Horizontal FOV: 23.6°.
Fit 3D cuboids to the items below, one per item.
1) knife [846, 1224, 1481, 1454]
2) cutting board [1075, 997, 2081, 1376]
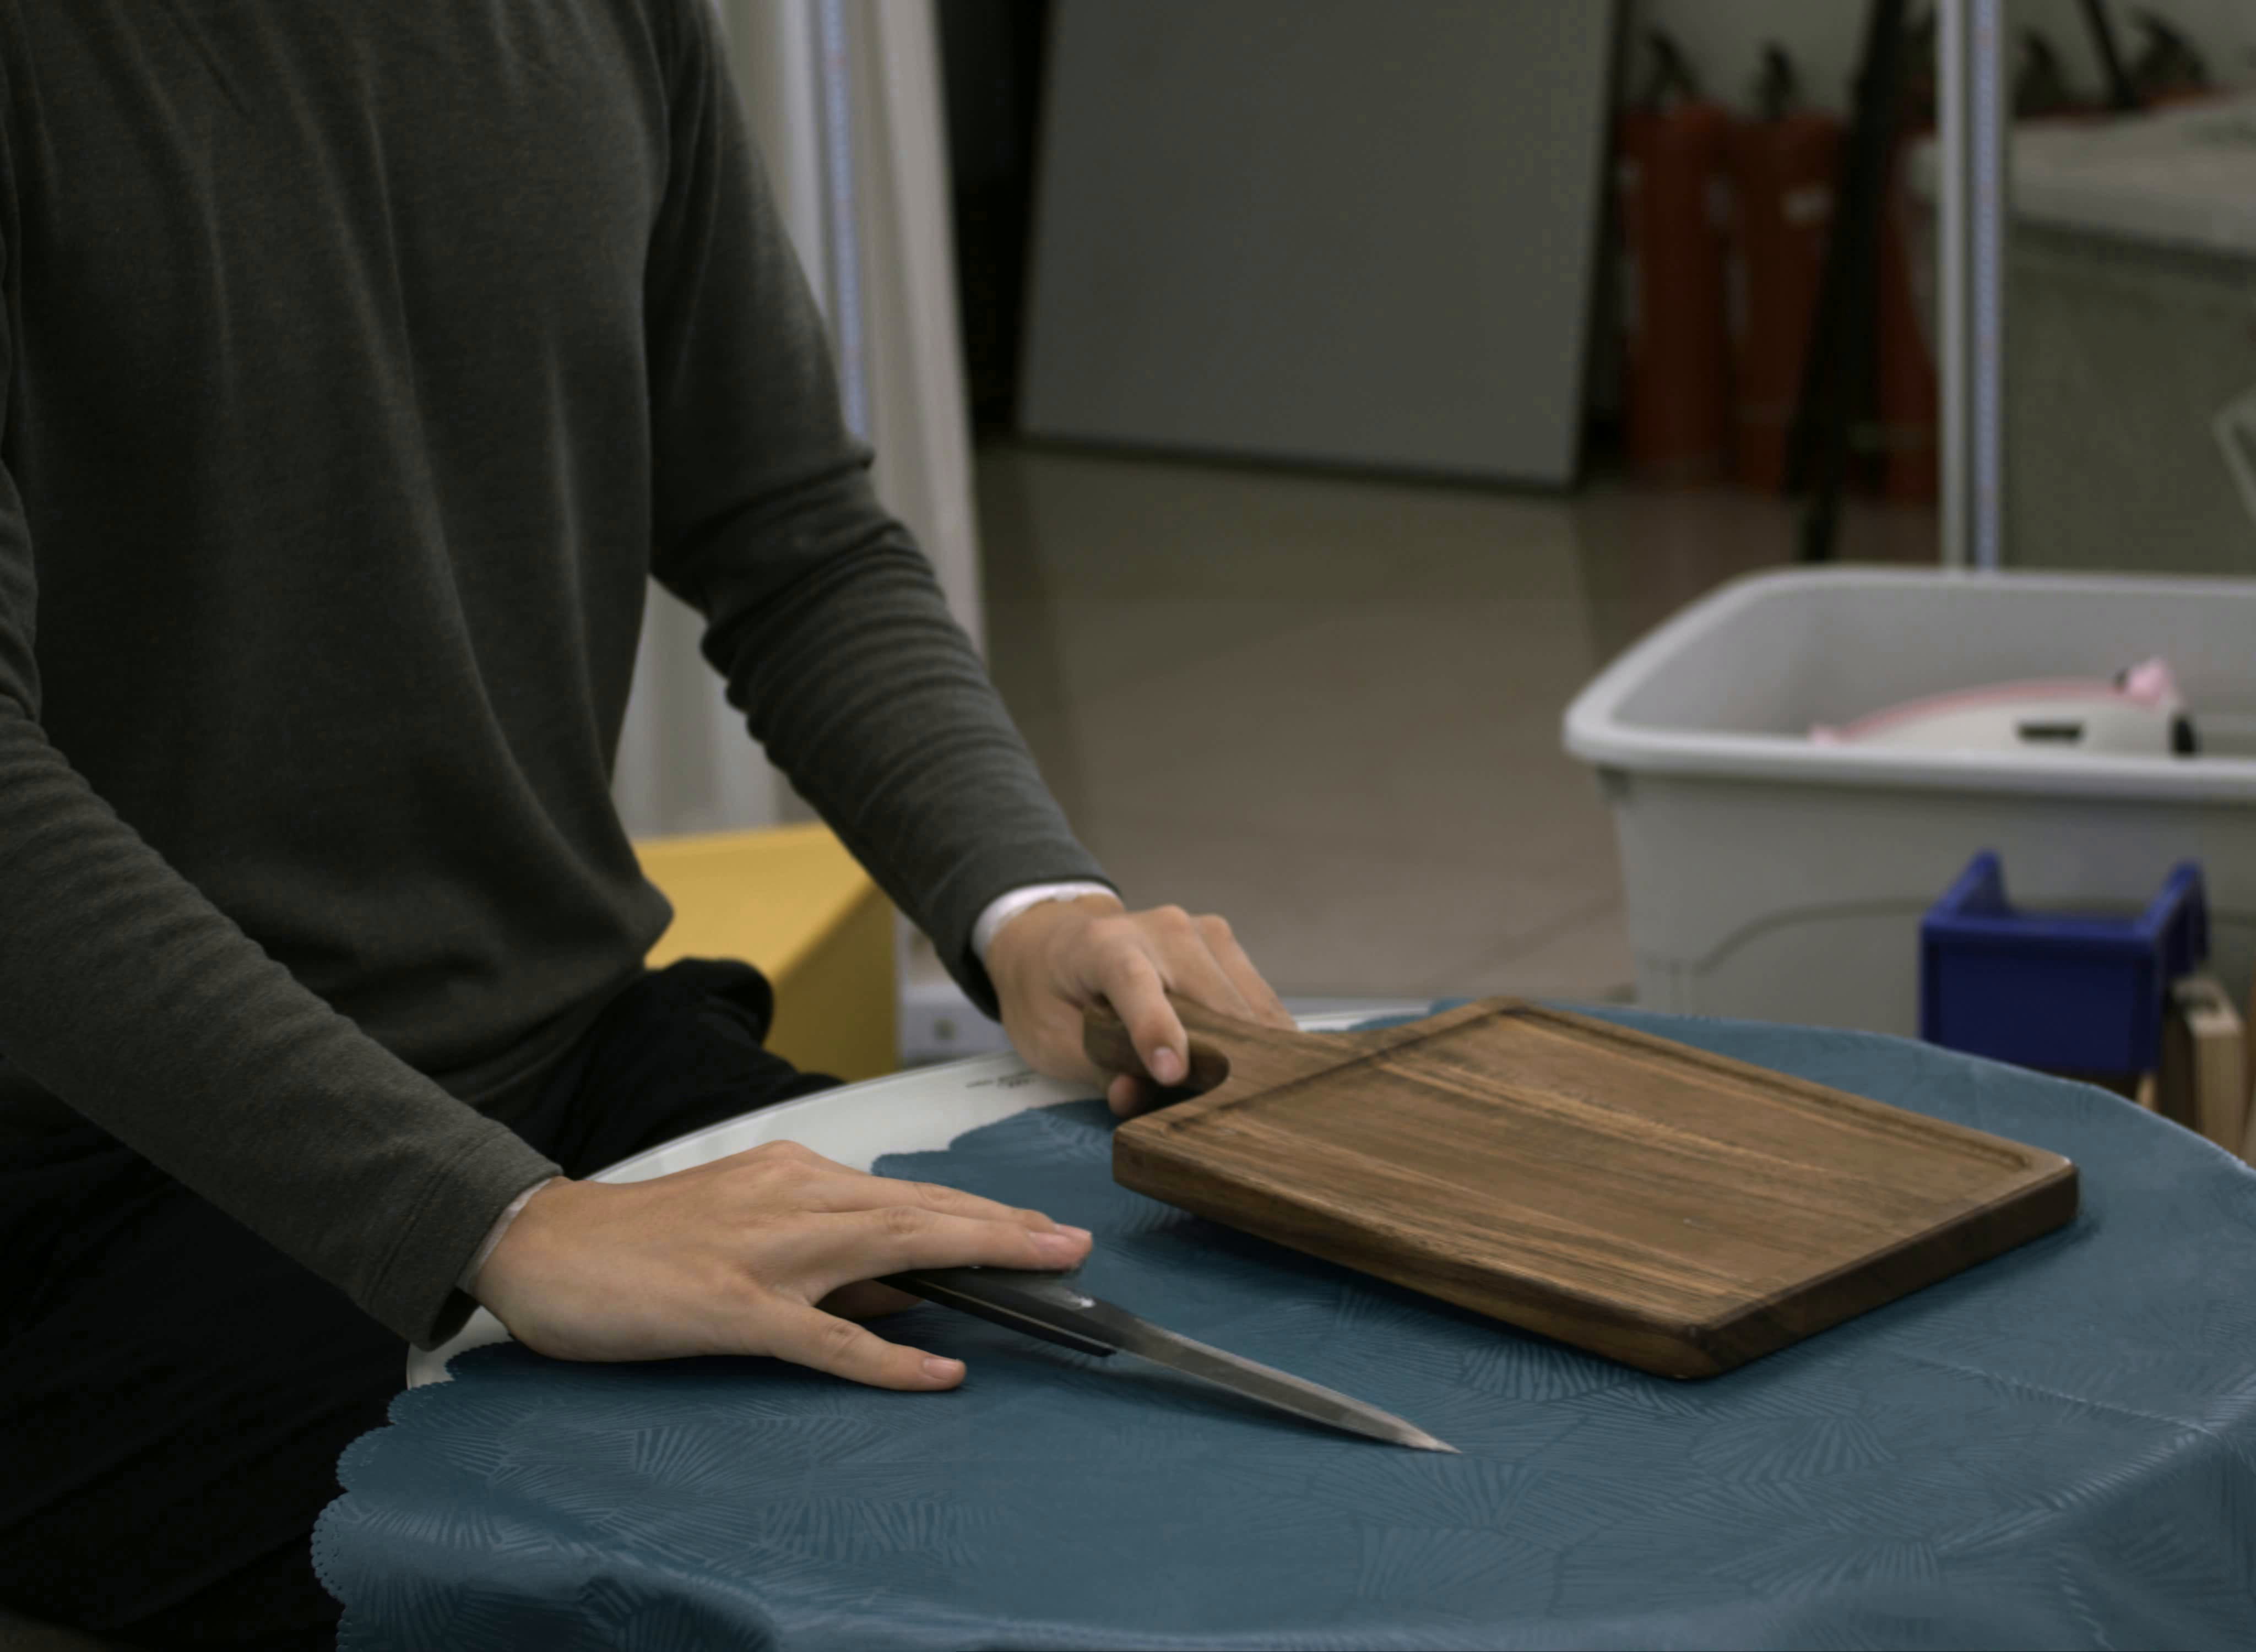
[{"bbox_3d":[0.005,0.153,1.588,0.240,0.016,0.024,14,23,37],"label":"knife"},{"bbox_3d":[0.112,0.101,1.738,0.197,0.023,0.355,-16,21,-41],"label":"cutting board"}]
